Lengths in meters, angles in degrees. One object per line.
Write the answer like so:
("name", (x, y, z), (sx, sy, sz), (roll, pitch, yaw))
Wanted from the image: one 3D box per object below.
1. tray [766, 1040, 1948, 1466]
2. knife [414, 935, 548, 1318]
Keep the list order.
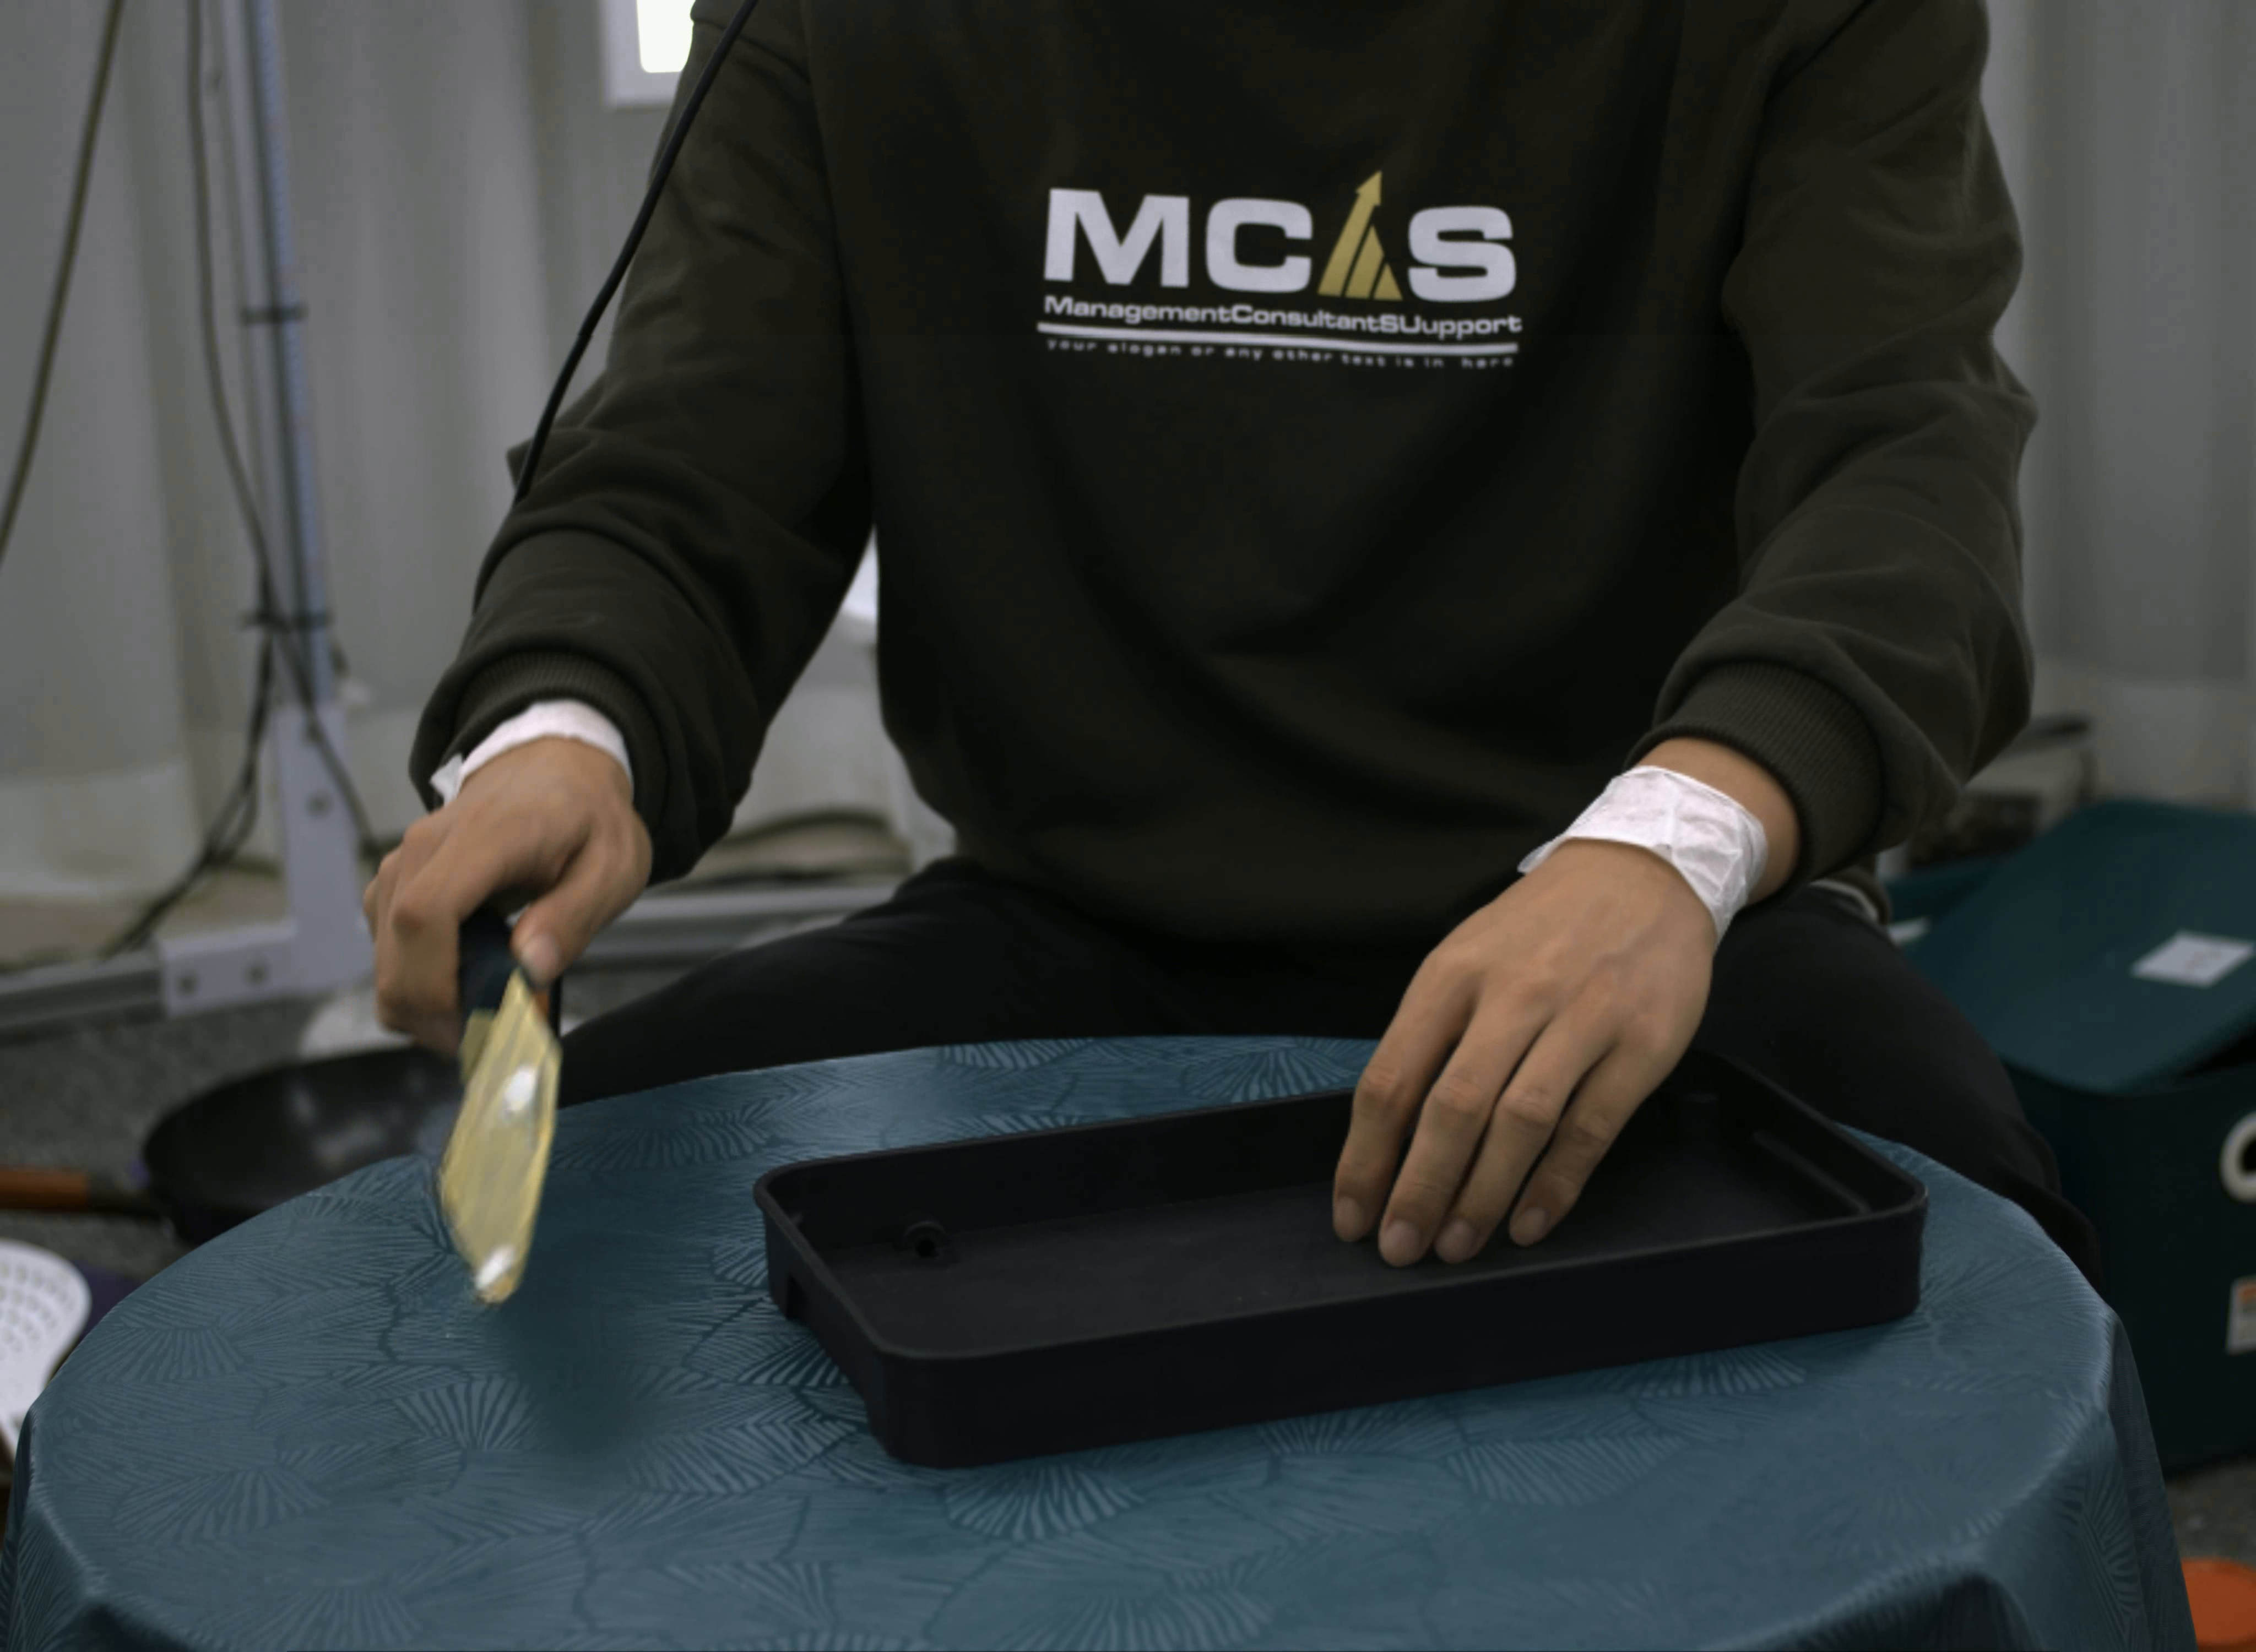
("tray", (0.065, 0.121, 1.610), (0.316, 0.037, 0.186), (-7, 15, -17))
("knife", (-0.196, 0.086, 1.643), (0.027, 0.081, 0.291), (24, 9, -14))
